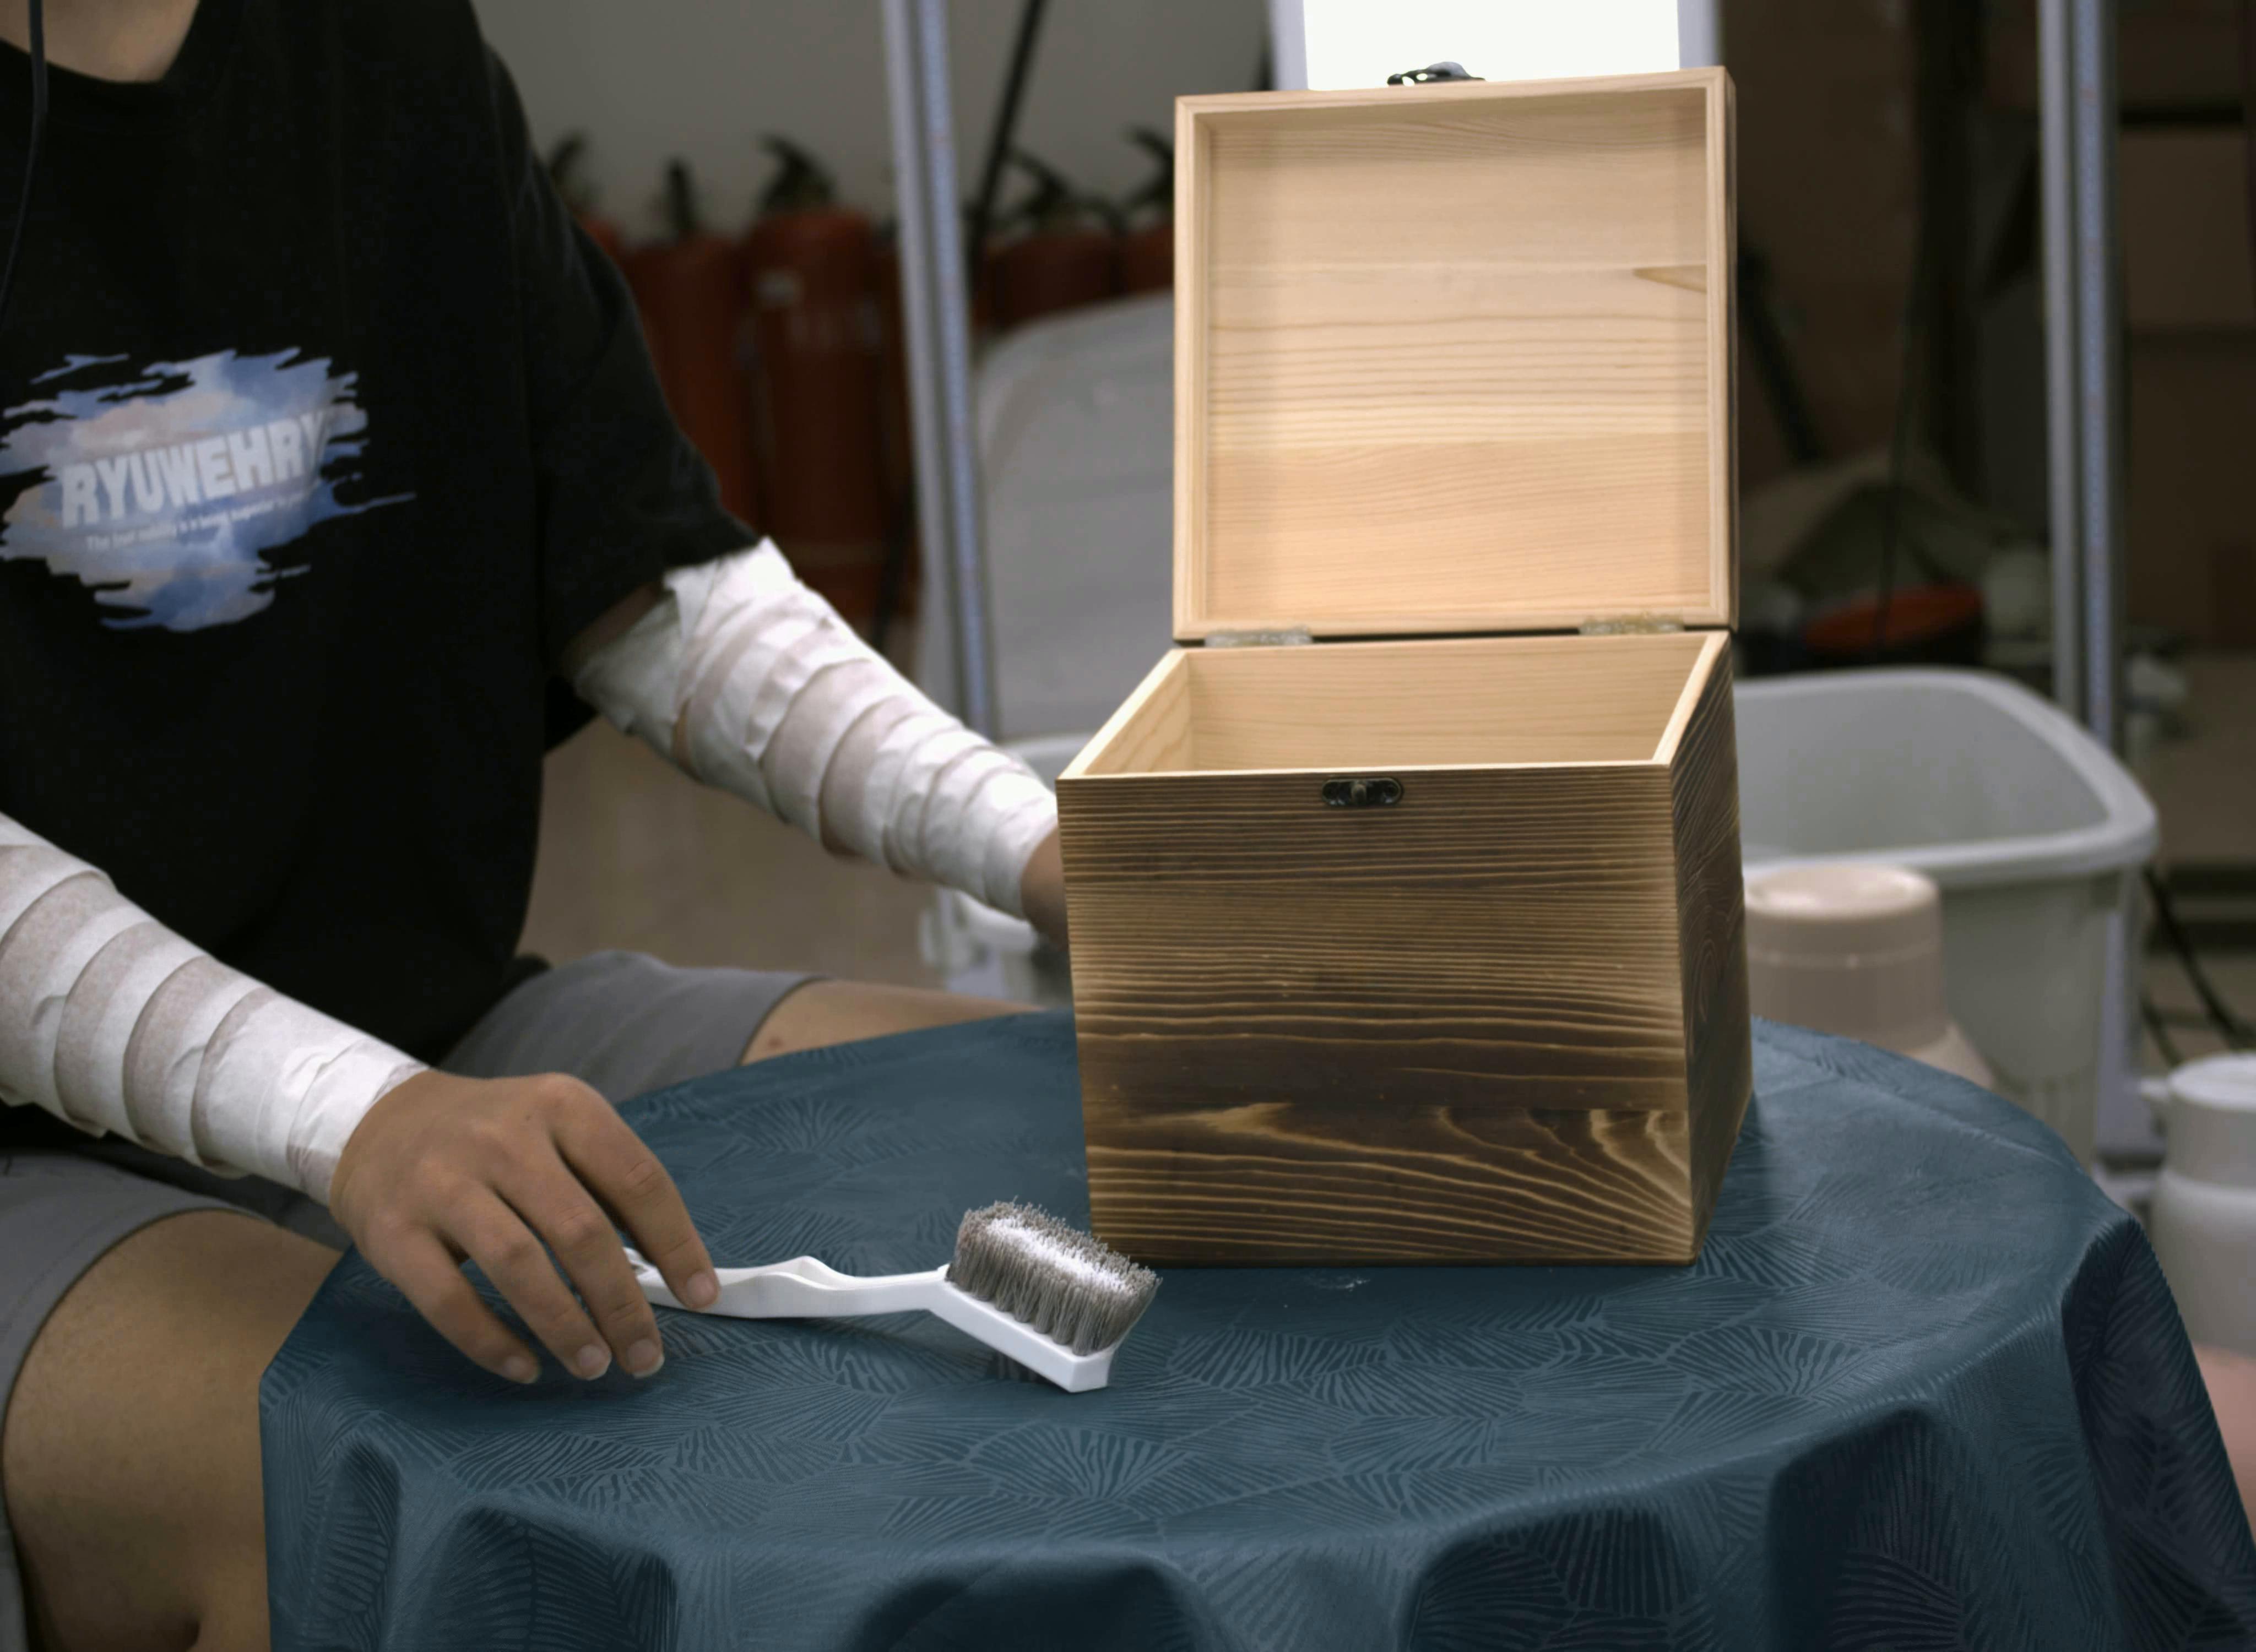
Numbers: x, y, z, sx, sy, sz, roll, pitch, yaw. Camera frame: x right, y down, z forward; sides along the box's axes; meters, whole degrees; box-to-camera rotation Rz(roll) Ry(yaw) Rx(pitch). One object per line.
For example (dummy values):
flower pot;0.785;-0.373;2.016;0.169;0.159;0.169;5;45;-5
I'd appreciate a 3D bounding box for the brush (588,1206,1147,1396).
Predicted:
brush;-0.090;0.139;1.778;0.249;0.050;0.033;8;22;43

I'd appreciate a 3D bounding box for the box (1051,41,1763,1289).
box;0.100;-0.069;1.892;0.210;0.377;0.318;-2;14;14
